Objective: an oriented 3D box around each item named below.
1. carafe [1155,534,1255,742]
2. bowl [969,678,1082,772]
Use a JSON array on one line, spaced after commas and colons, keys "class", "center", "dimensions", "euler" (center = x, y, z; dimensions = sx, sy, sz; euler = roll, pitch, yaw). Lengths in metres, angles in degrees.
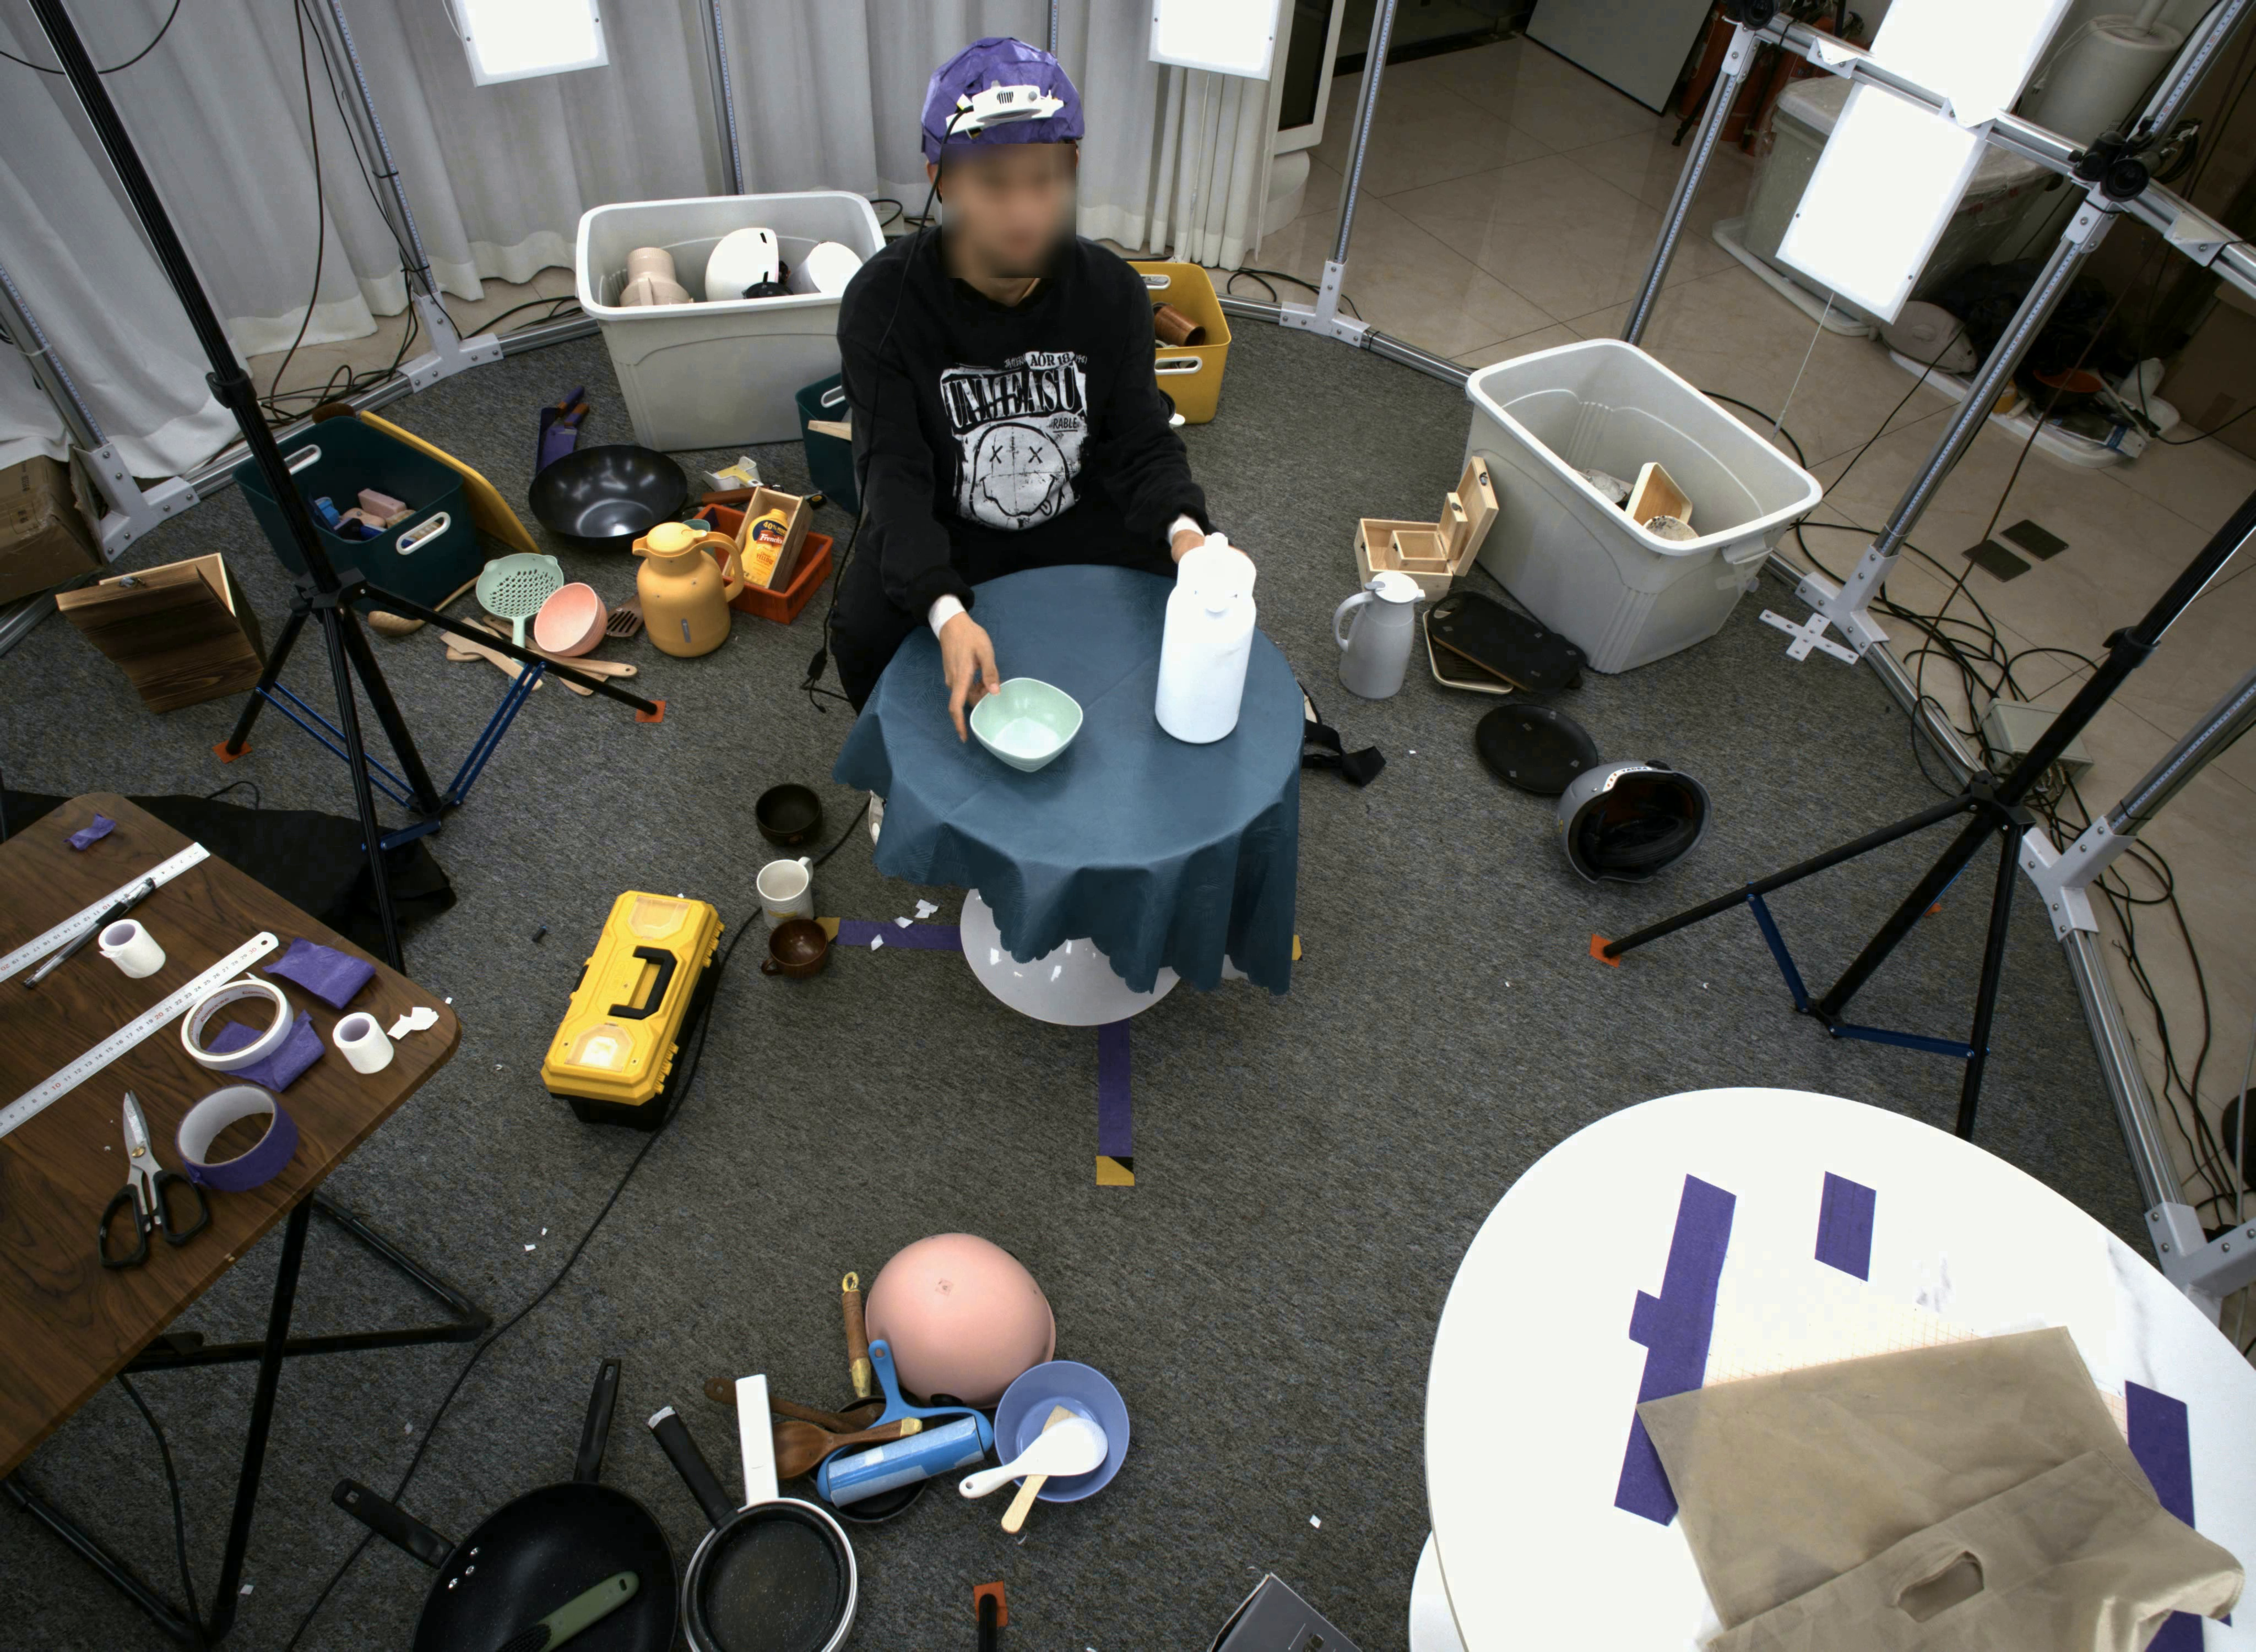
[{"class": "carafe", "center": [0.102, -0.253, 1.723], "dimensions": [0.124, 0.262, 0.177], "euler": [3, 49, 1]}, {"class": "bowl", "center": [-0.138, -0.127, 1.737], "dimensions": [0.151, 0.057, 0.155], "euler": [2, 49, -3]}]
